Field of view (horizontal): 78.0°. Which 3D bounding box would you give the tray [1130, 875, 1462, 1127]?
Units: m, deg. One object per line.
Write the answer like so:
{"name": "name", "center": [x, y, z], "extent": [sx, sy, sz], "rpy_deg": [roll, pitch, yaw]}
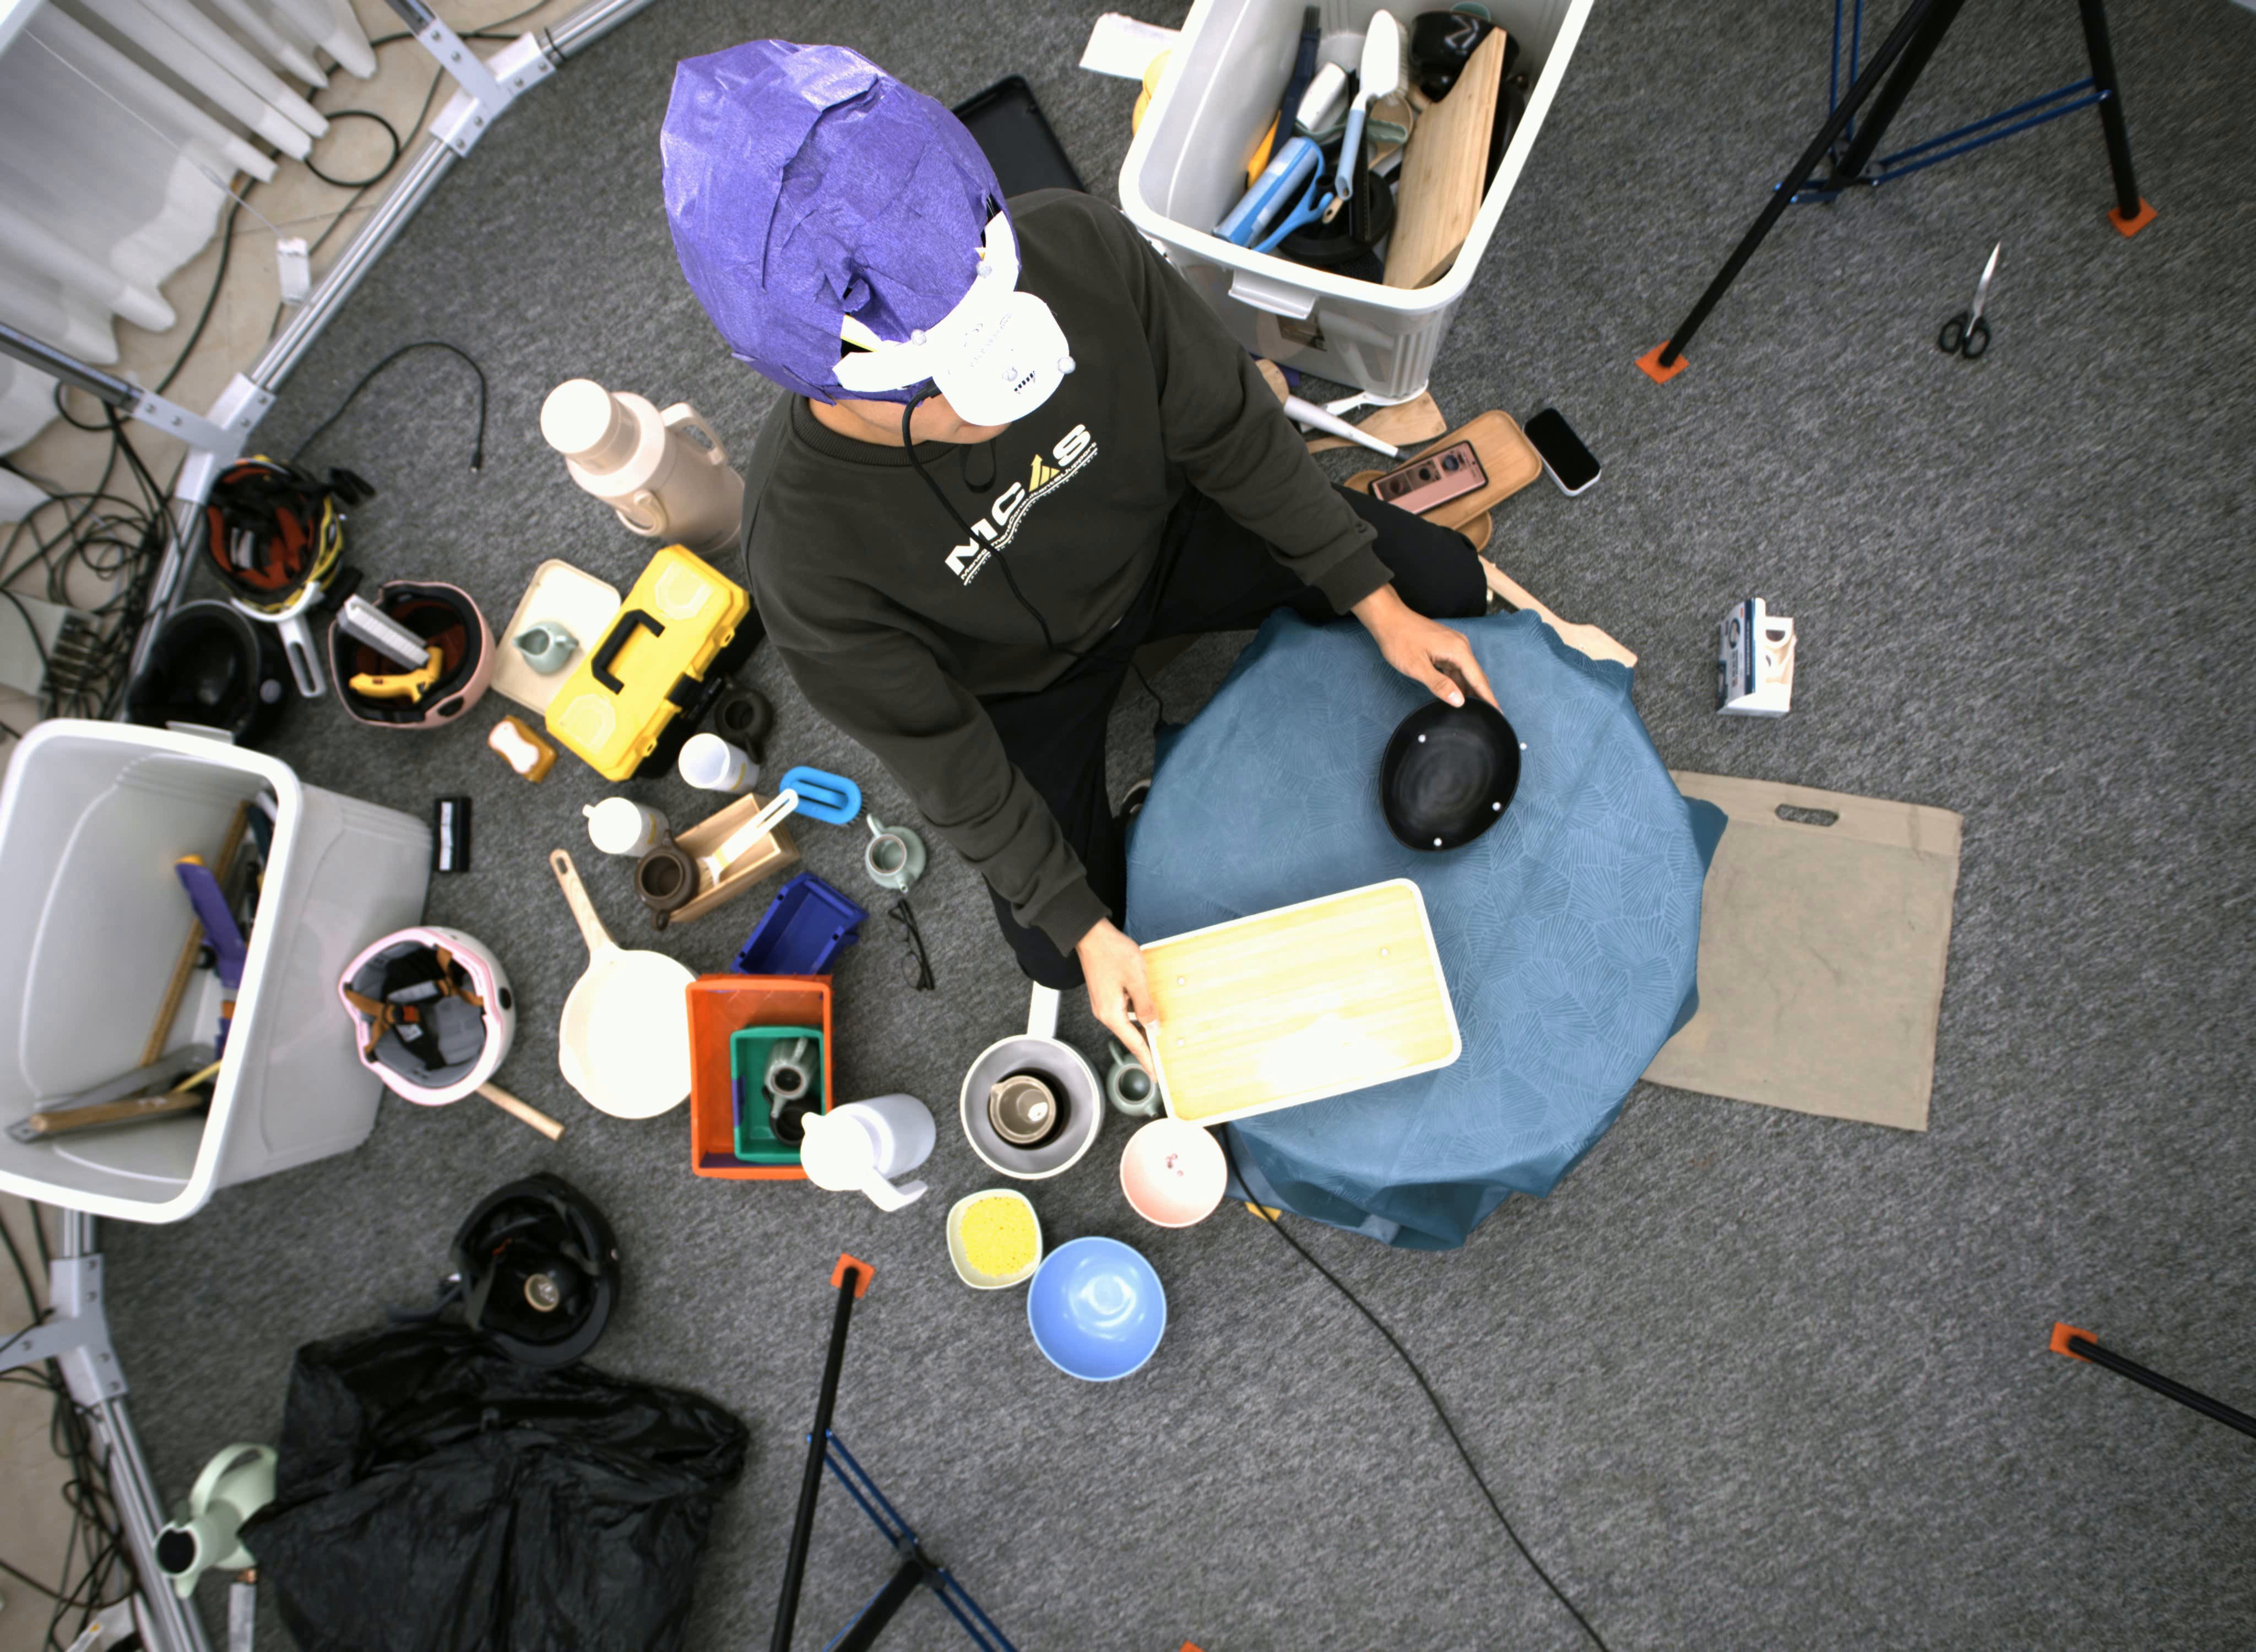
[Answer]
{"name": "tray", "center": [0.167, 0.175, 1.391], "extent": [0.301, 0.027, 0.191], "rpy_deg": [-15, 87, 5]}

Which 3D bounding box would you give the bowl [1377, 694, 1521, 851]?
{"name": "bowl", "center": [0.331, -0.053, 1.425], "extent": [0.137, 0.066, 0.170], "rpy_deg": [26, 93, 13]}
